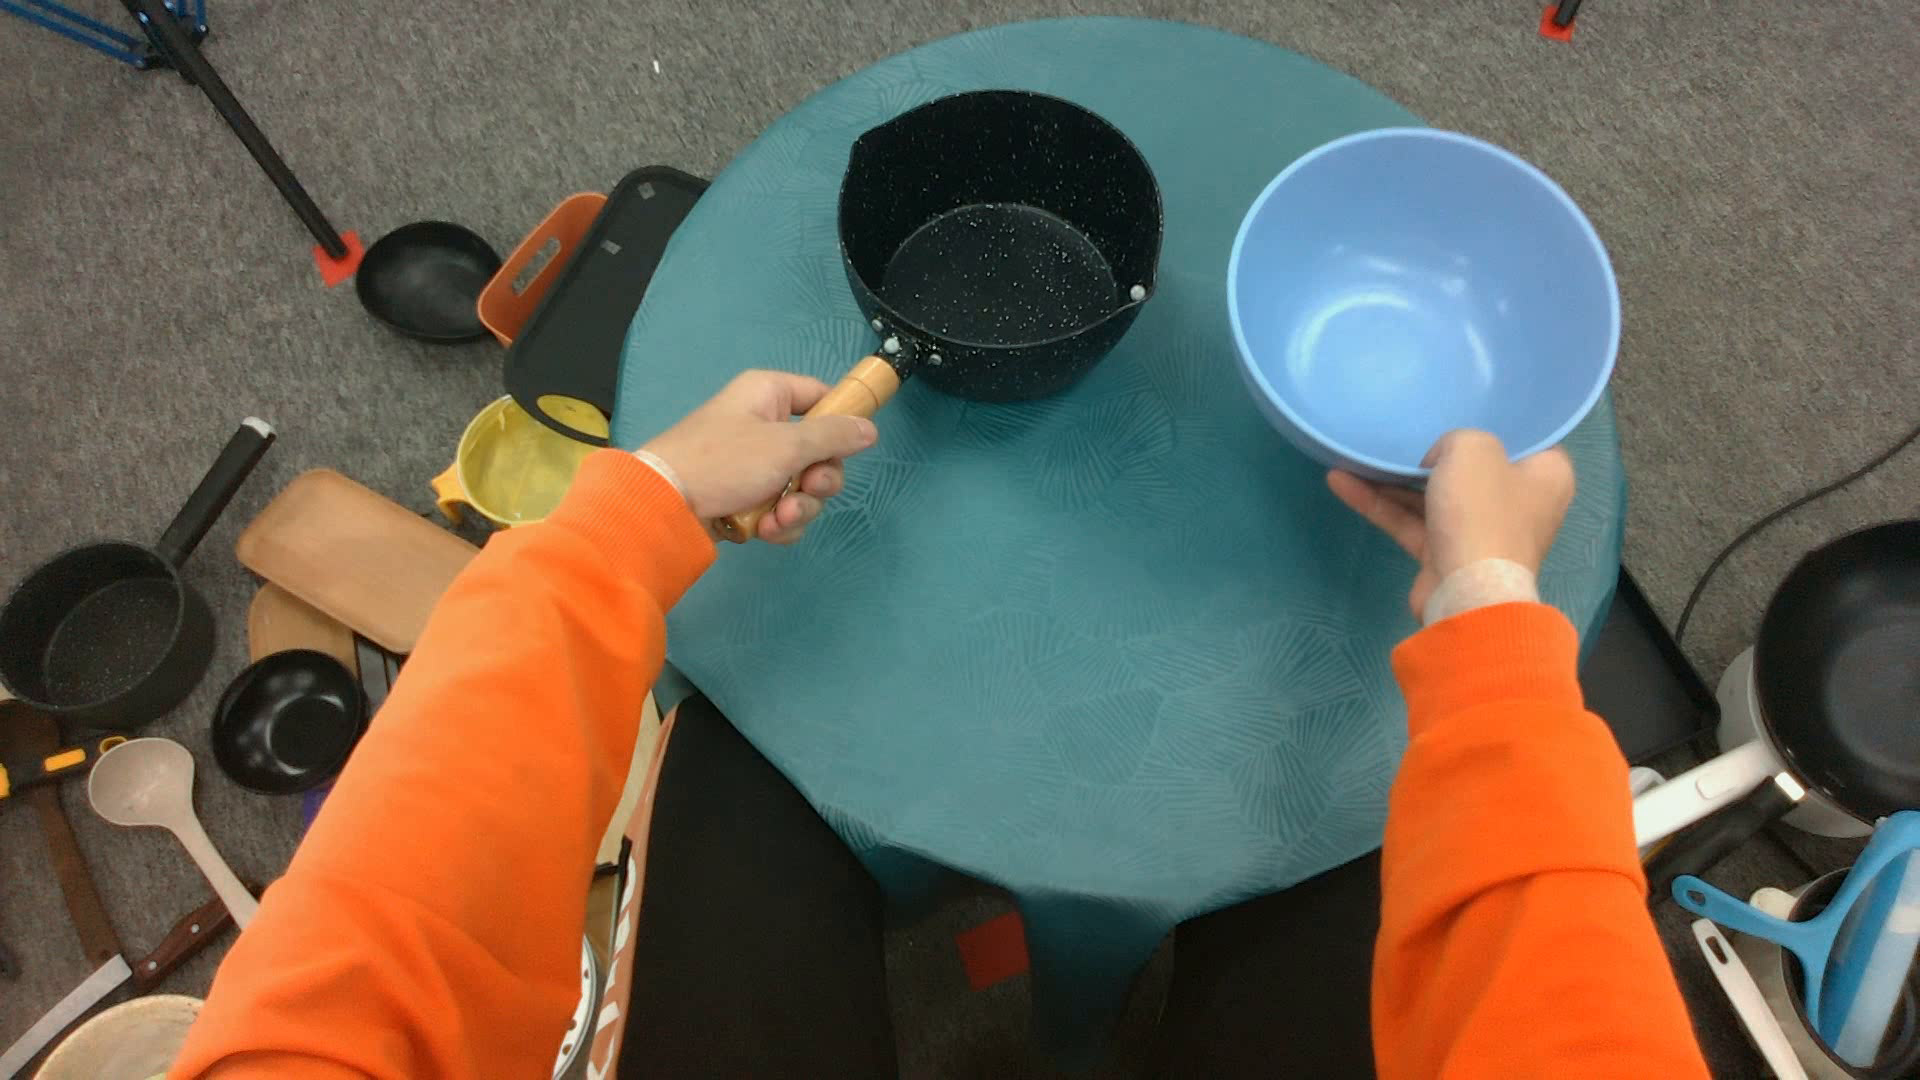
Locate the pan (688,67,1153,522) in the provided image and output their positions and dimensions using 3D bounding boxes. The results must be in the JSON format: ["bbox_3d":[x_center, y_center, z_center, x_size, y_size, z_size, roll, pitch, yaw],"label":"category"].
[{"bbox_3d":[-0.028,-0.120,0.765,0.207,0.108,0.344,30,66,12],"label":"pan"}]

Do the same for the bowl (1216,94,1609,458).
[{"bbox_3d":[0.227,-0.125,0.733,0.196,0.095,0.197,0,74,0],"label":"bowl"}]
